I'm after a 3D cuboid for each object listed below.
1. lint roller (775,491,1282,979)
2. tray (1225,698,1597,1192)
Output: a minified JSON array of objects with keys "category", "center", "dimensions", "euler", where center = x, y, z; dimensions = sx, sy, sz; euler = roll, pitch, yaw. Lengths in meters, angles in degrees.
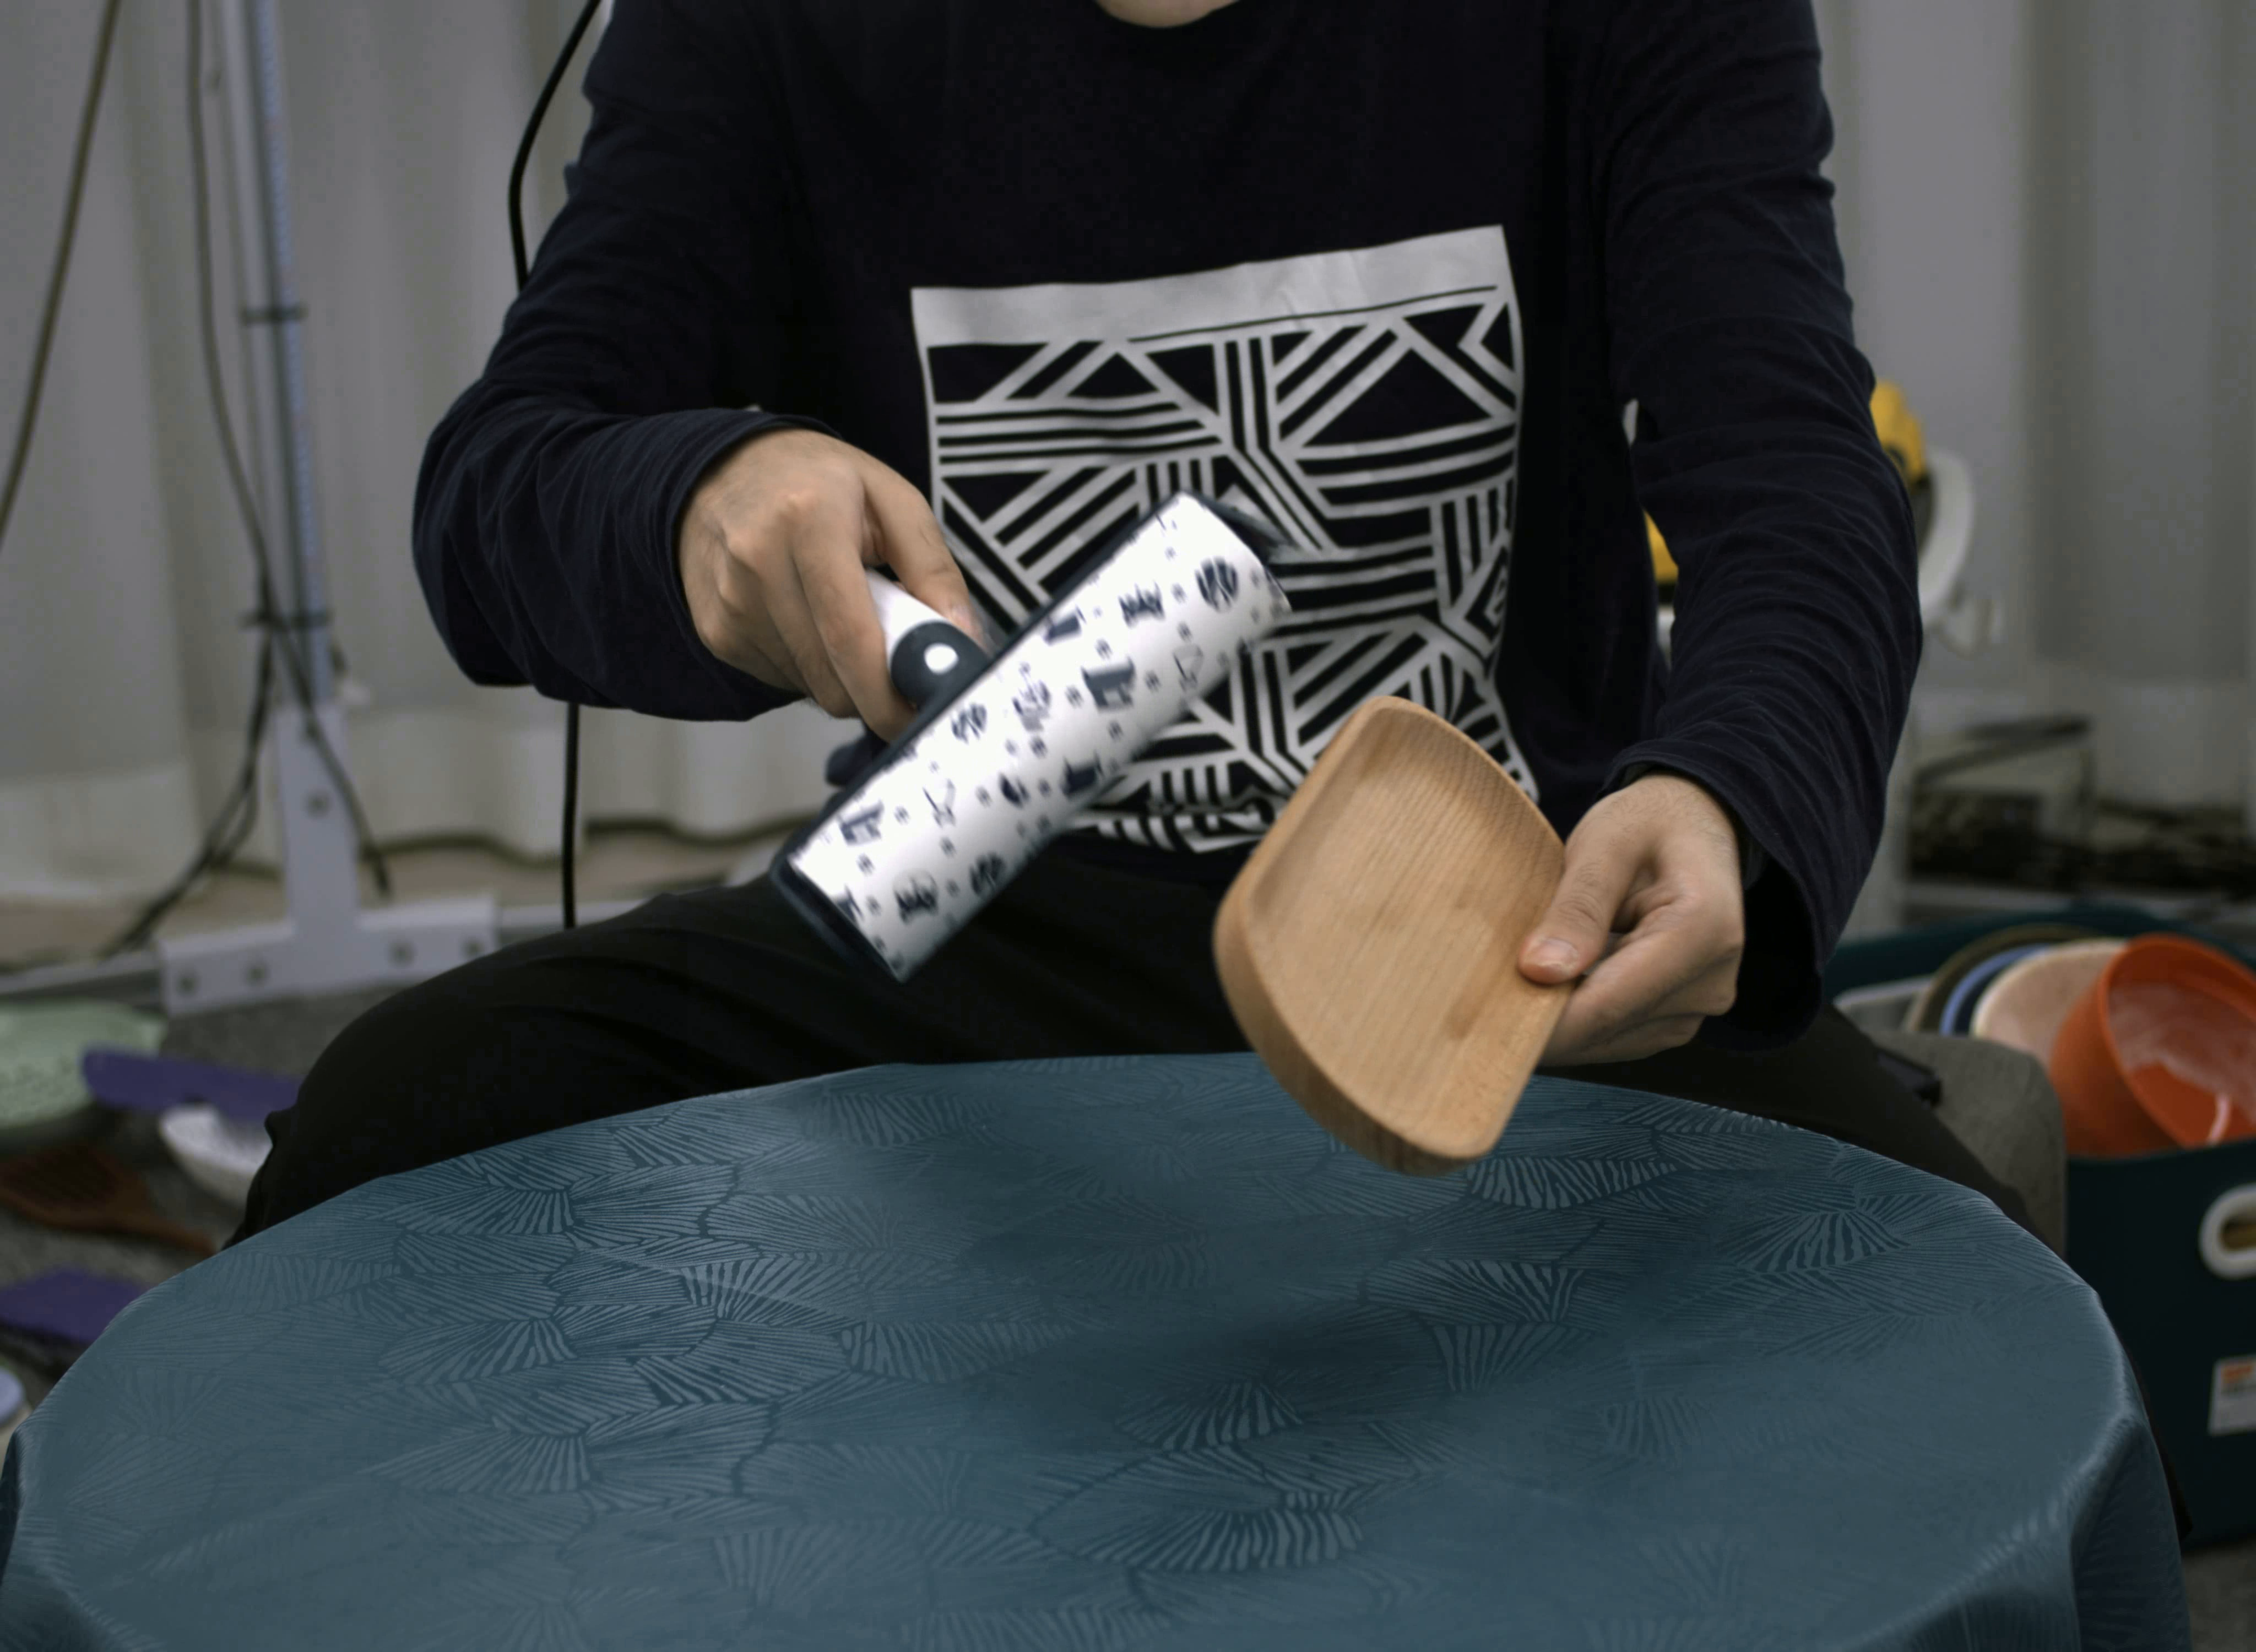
[{"category":"lint roller","center":[-0.066,-0.052,1.697],"dimensions":[0.176,0.050,0.249],"euler":[-44,28,-7]},{"category":"tray","center":[0.081,0.032,1.539],"dimensions":[0.020,0.101,0.233],"euler":[-43,6,27]}]
